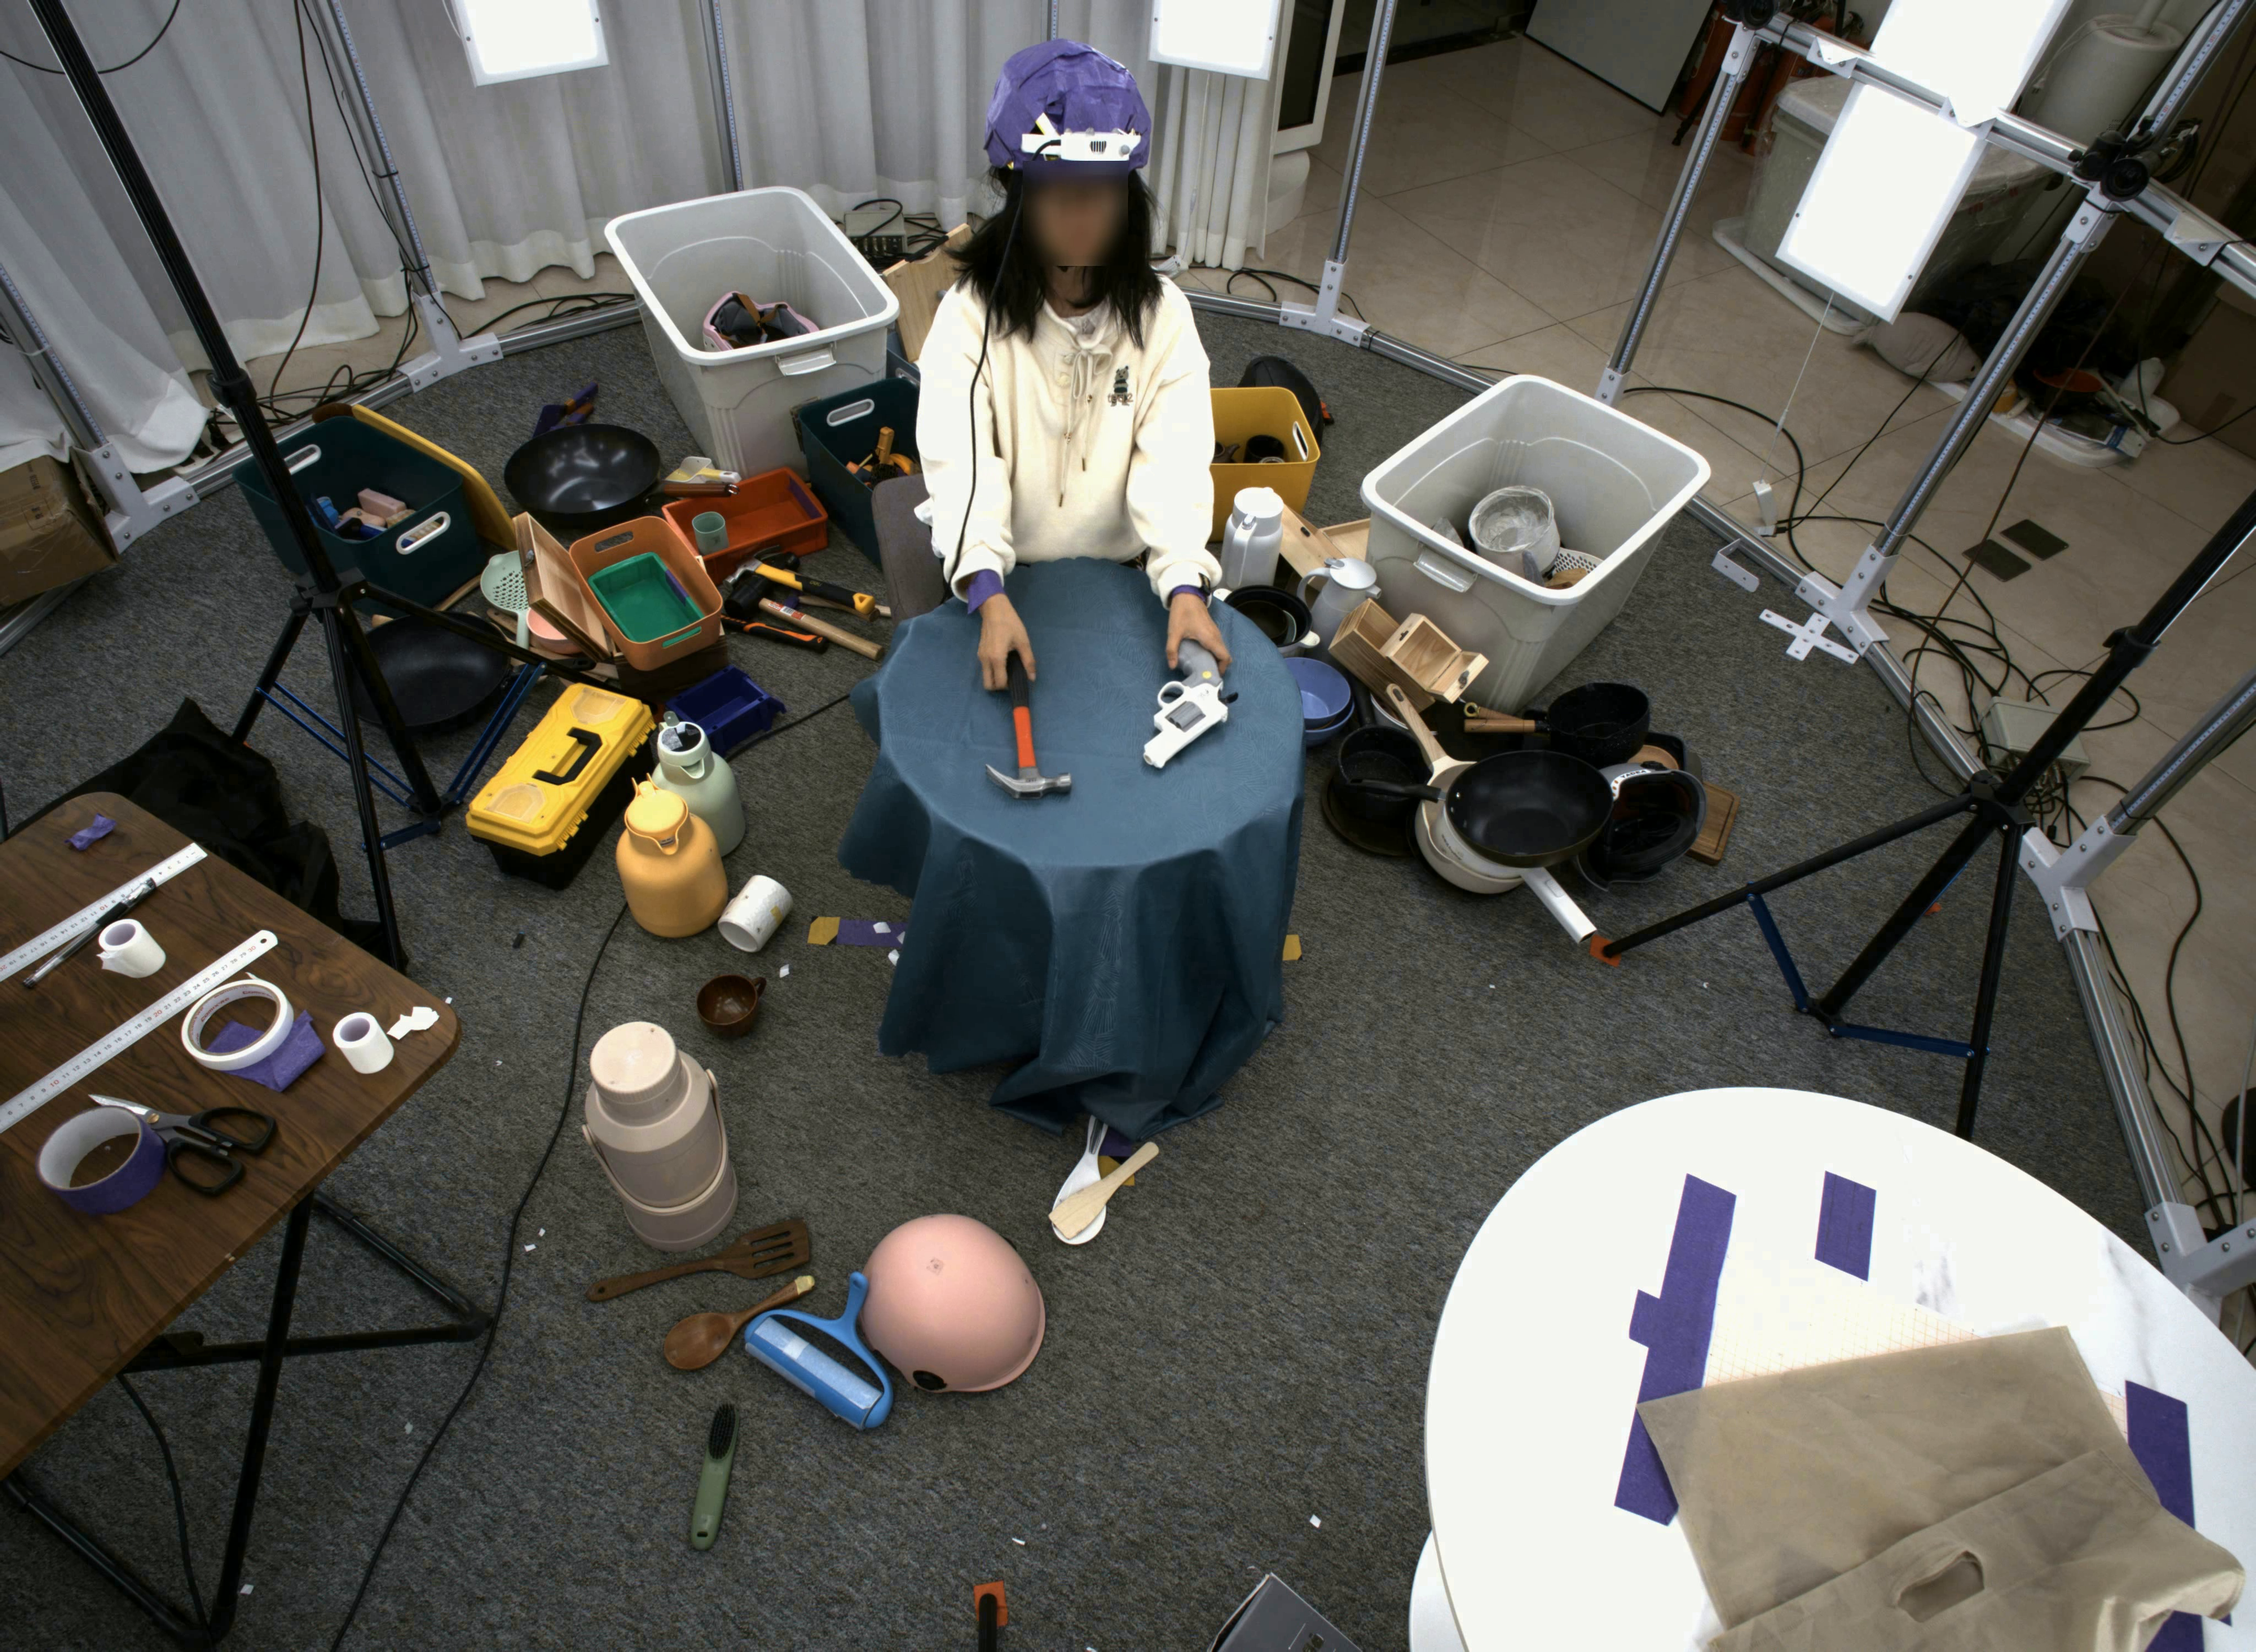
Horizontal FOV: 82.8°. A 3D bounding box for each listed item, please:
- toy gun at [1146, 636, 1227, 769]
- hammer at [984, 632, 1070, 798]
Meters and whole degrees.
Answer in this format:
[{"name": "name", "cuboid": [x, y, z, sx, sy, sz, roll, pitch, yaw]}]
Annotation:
[{"name": "toy gun", "cuboid": [0.068, -0.176, 1.799, 0.143, 0.038, 0.211, 36, 61, 25]}, {"name": "hammer", "cuboid": [-0.147, -0.158, 1.763, 0.110, 0.026, 0.284, -10, 55, 2]}]
